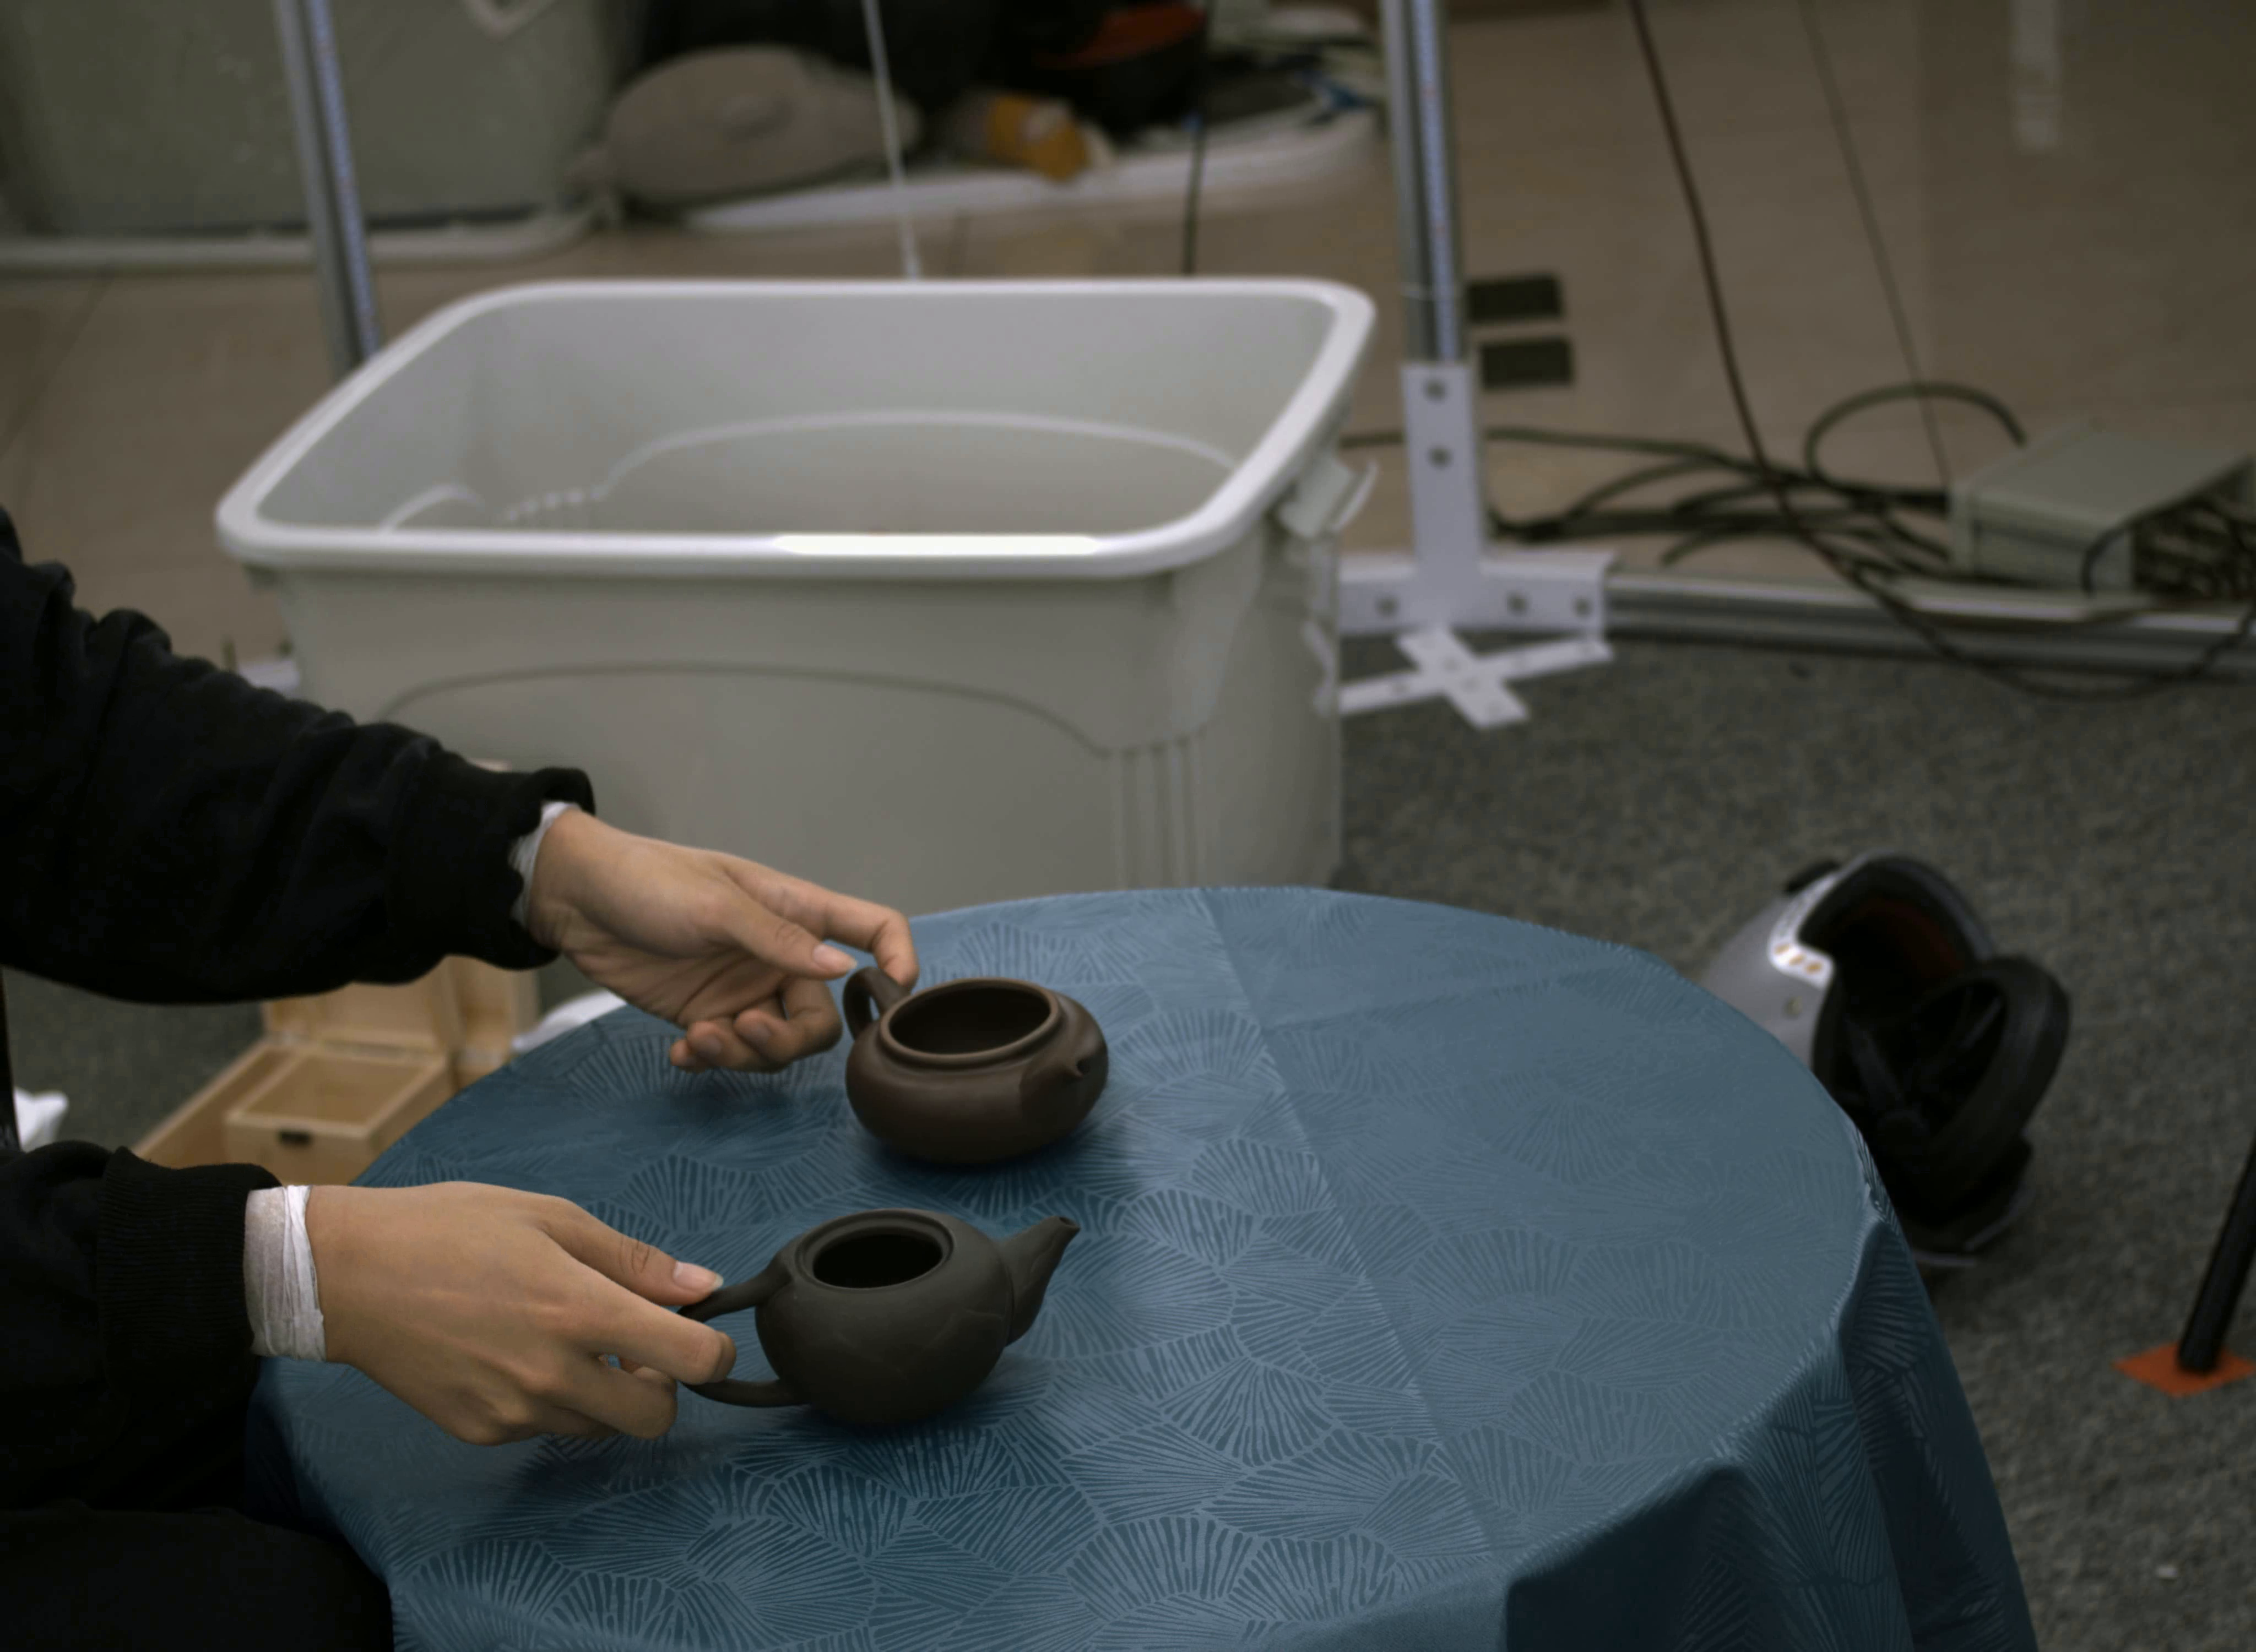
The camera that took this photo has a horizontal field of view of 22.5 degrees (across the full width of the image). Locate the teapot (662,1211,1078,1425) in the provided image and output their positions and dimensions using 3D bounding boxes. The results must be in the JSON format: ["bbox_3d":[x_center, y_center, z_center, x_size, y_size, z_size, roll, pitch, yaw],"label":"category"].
[{"bbox_3d":[-0.090,0.174,2.020,0.154,0.065,0.091,-11,24,-11],"label":"teapot"}]

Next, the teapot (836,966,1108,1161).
[{"bbox_3d":[-0.062,0.092,2.201,0.102,0.054,0.152,-25,31,-38],"label":"teapot"}]
